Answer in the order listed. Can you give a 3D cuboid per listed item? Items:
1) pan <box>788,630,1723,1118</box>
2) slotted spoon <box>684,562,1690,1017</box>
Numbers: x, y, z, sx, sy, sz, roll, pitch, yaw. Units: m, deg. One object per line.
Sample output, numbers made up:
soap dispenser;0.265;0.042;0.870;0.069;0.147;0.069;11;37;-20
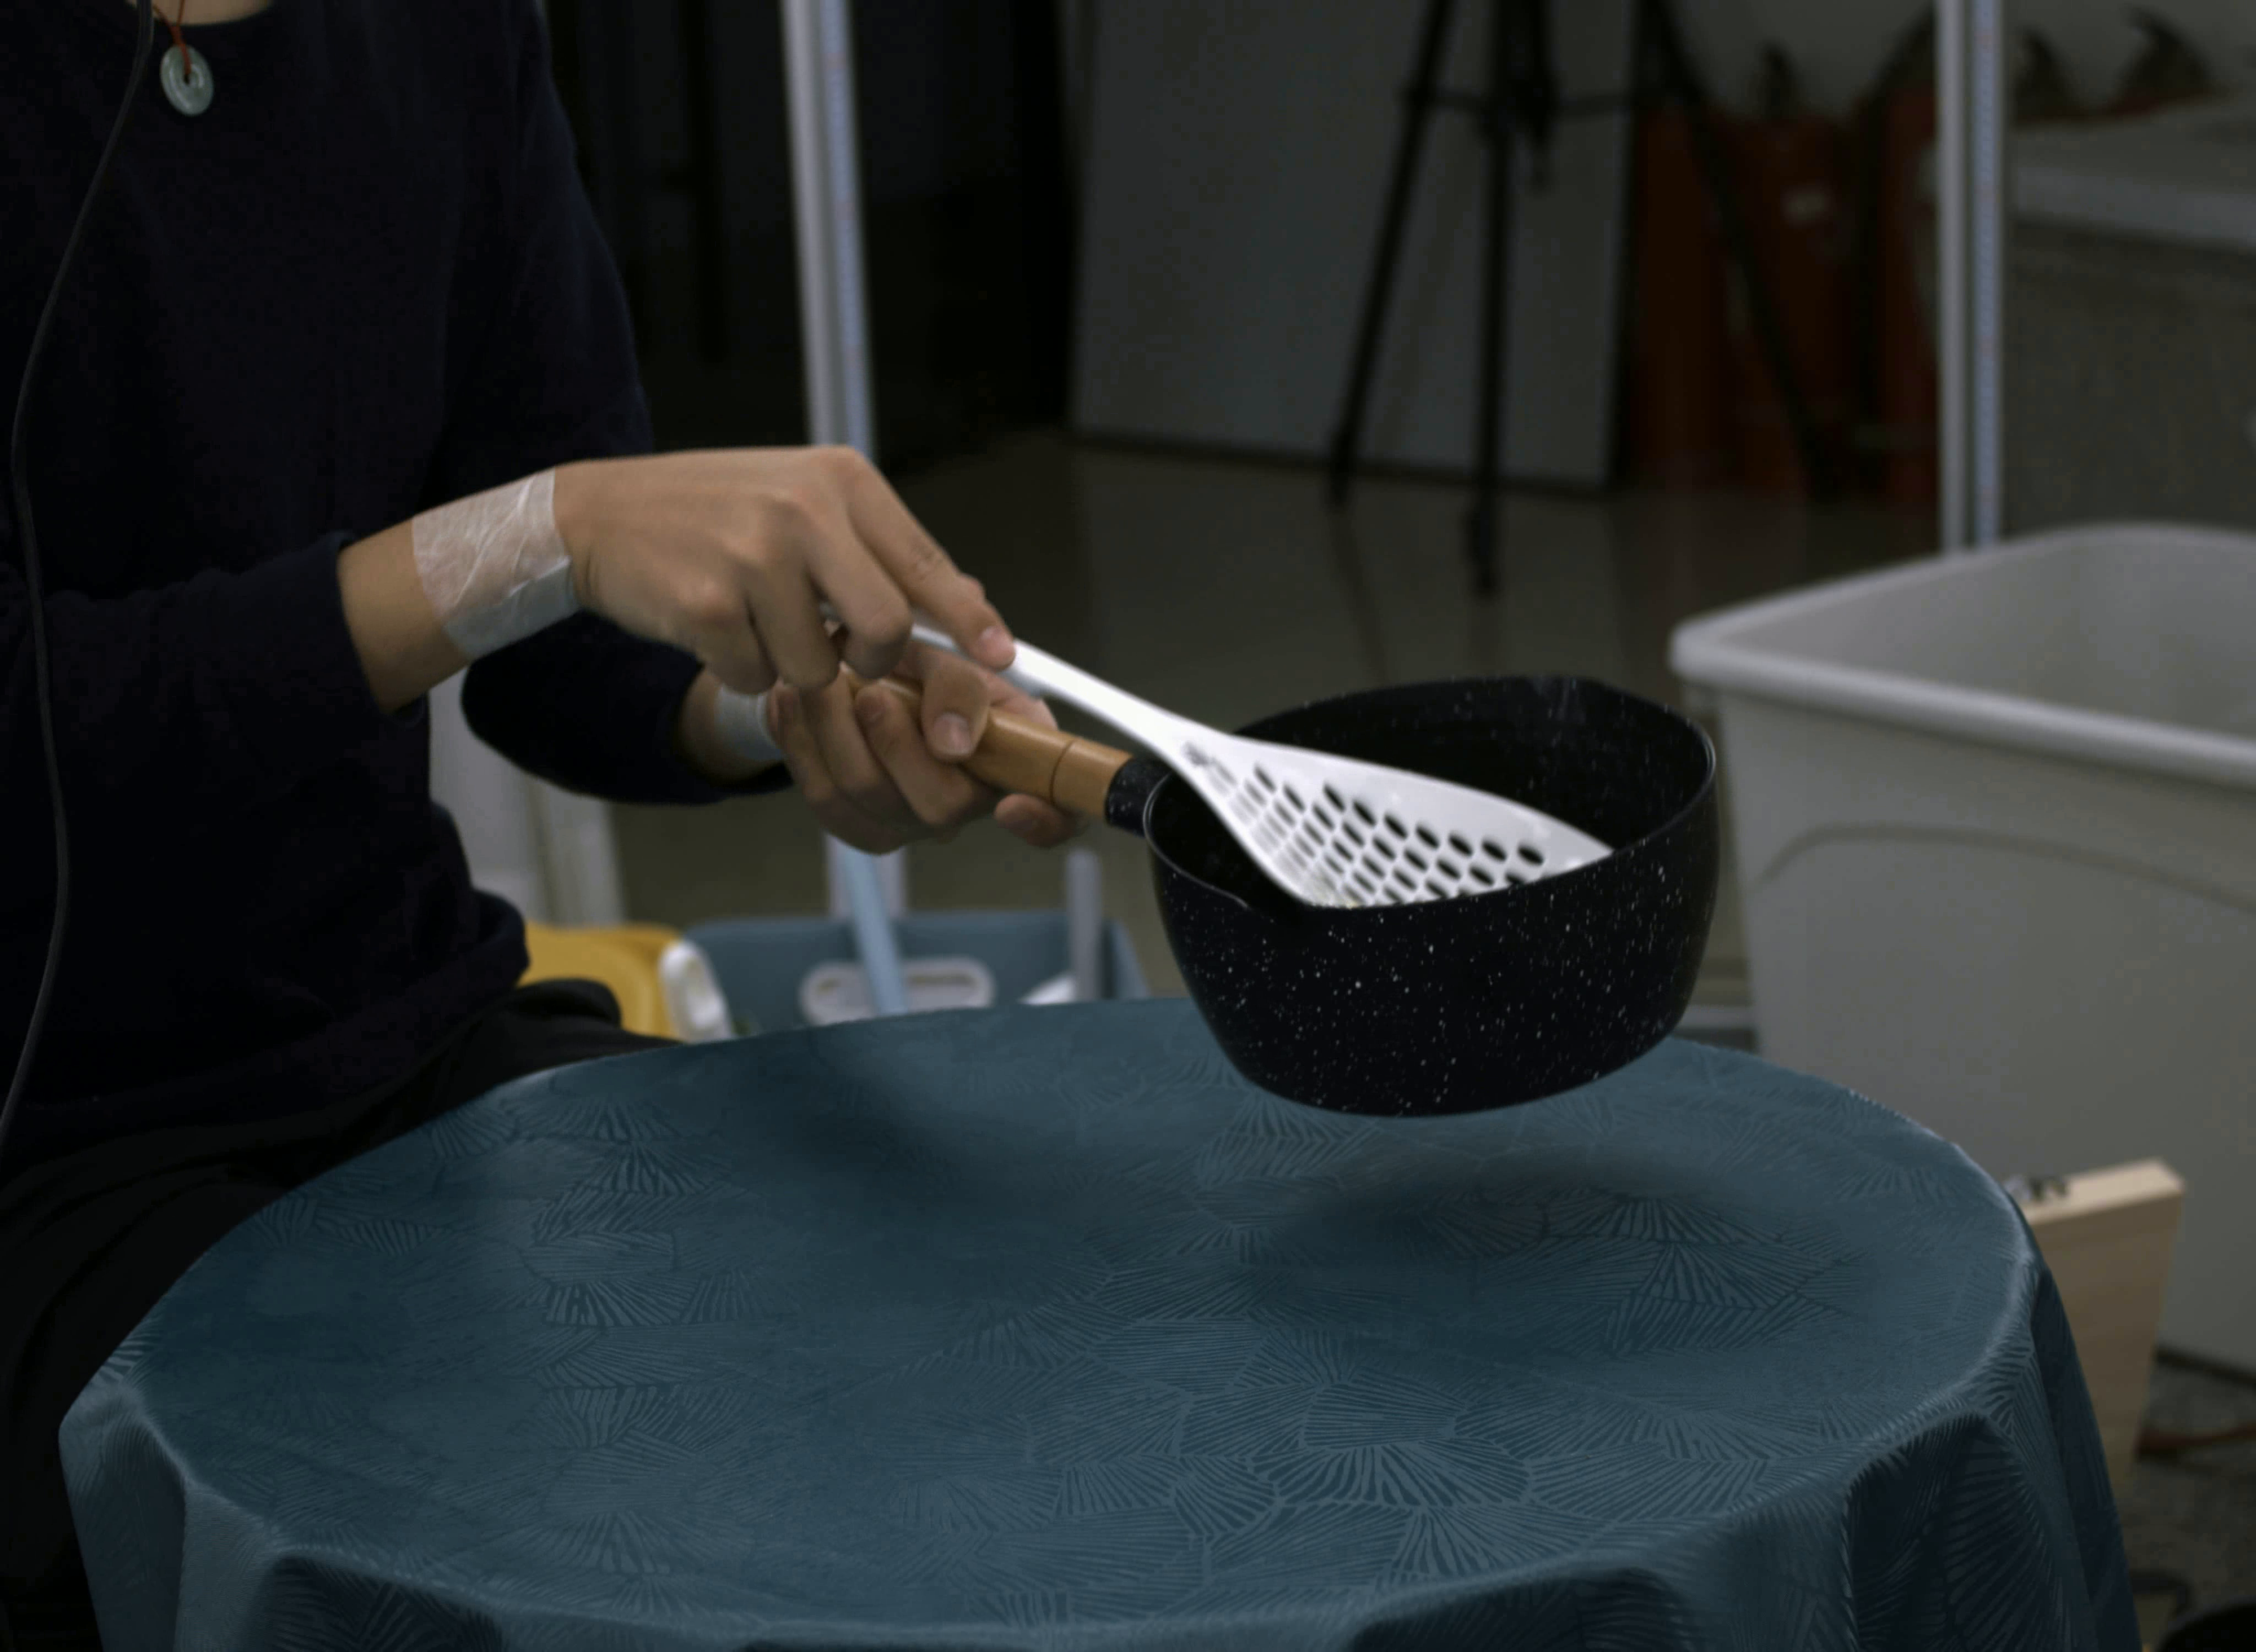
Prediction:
pan;0.033;0.003;1.757;0.344;0.109;0.205;7;28;33
slotted spoon;0.018;-0.021;1.731;0.346;0.051;0.136;29;30;7
